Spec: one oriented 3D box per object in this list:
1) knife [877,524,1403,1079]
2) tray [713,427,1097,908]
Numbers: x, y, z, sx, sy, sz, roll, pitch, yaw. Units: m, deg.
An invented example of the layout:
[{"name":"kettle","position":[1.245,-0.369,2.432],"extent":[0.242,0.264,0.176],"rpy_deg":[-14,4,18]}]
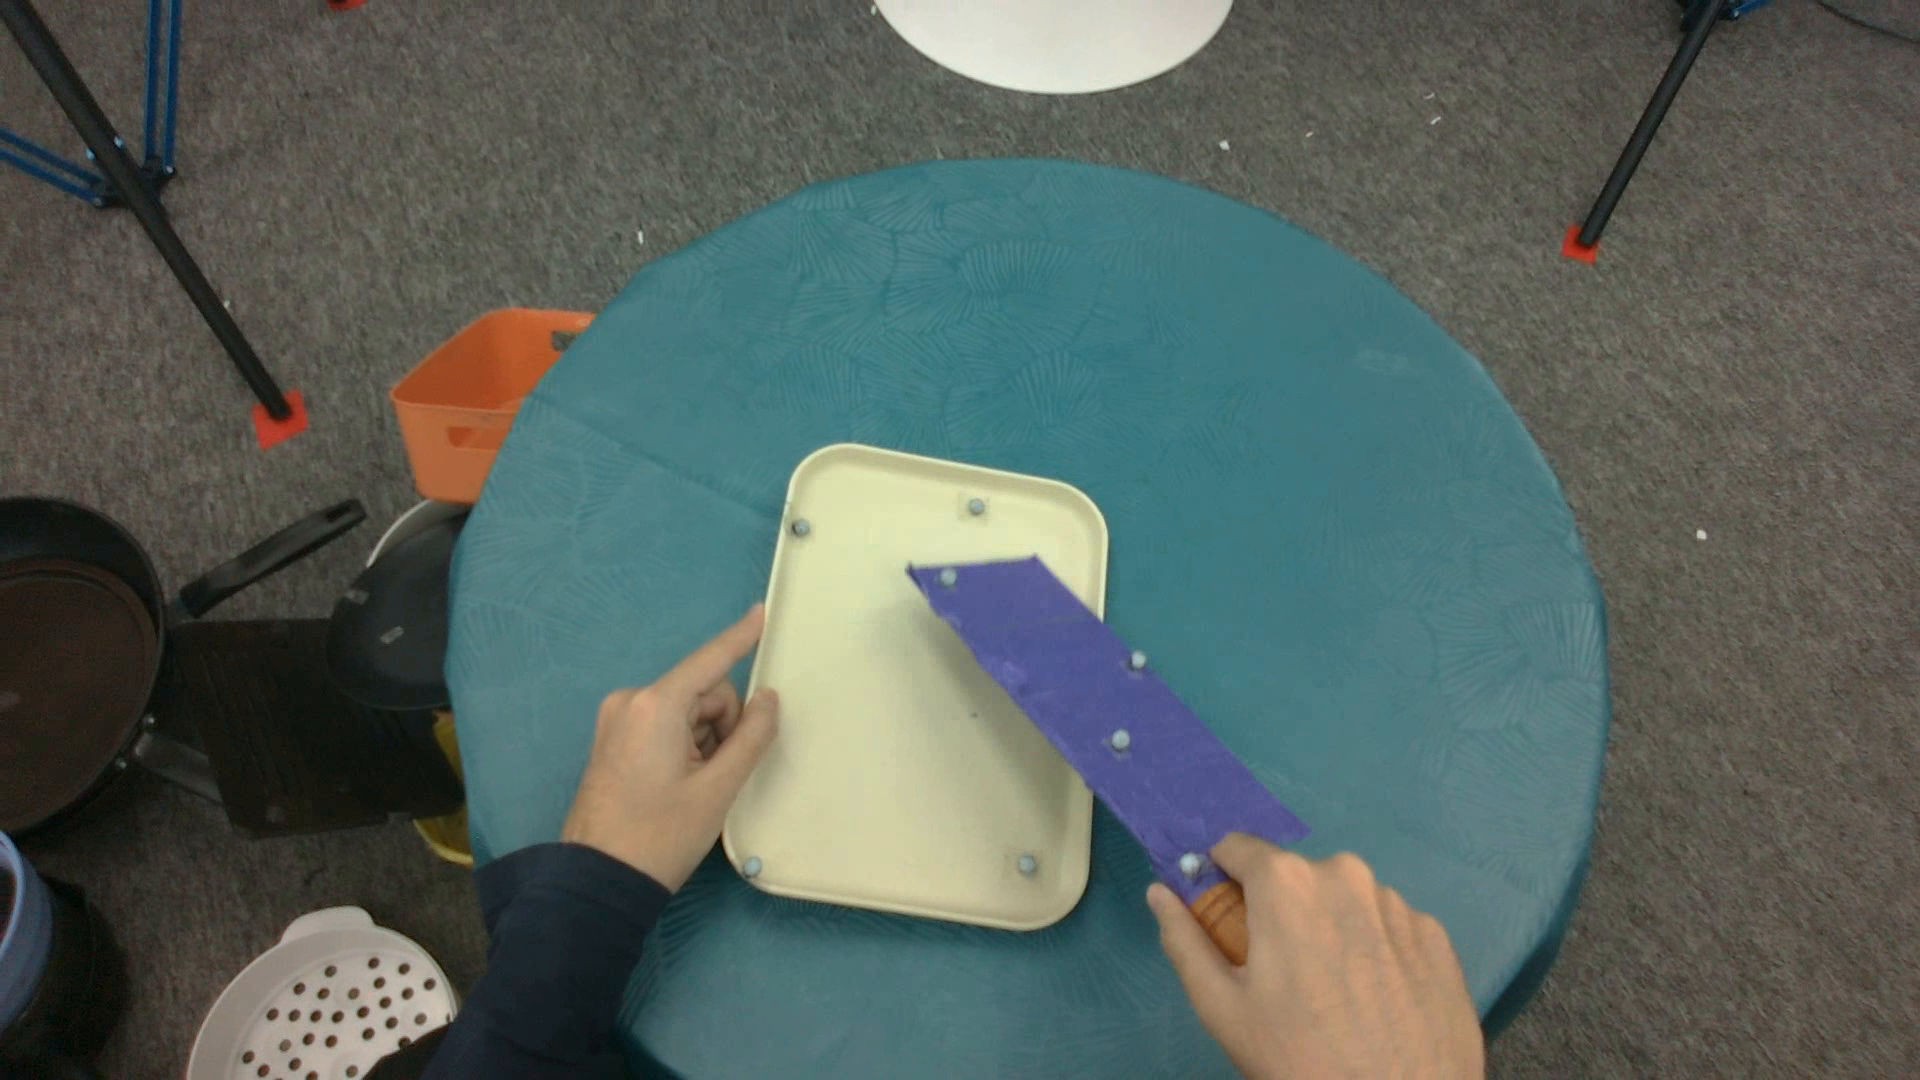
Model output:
[{"name":"knife","position":[0.084,0.085,0.591],"extent":[0.104,0.032,0.316],"rpy_deg":[-6,40,-39]},{"name":"tray","position":[-0.020,0.056,0.676],"extent":[0.171,0.017,0.240],"rpy_deg":[10,59,-6]}]
